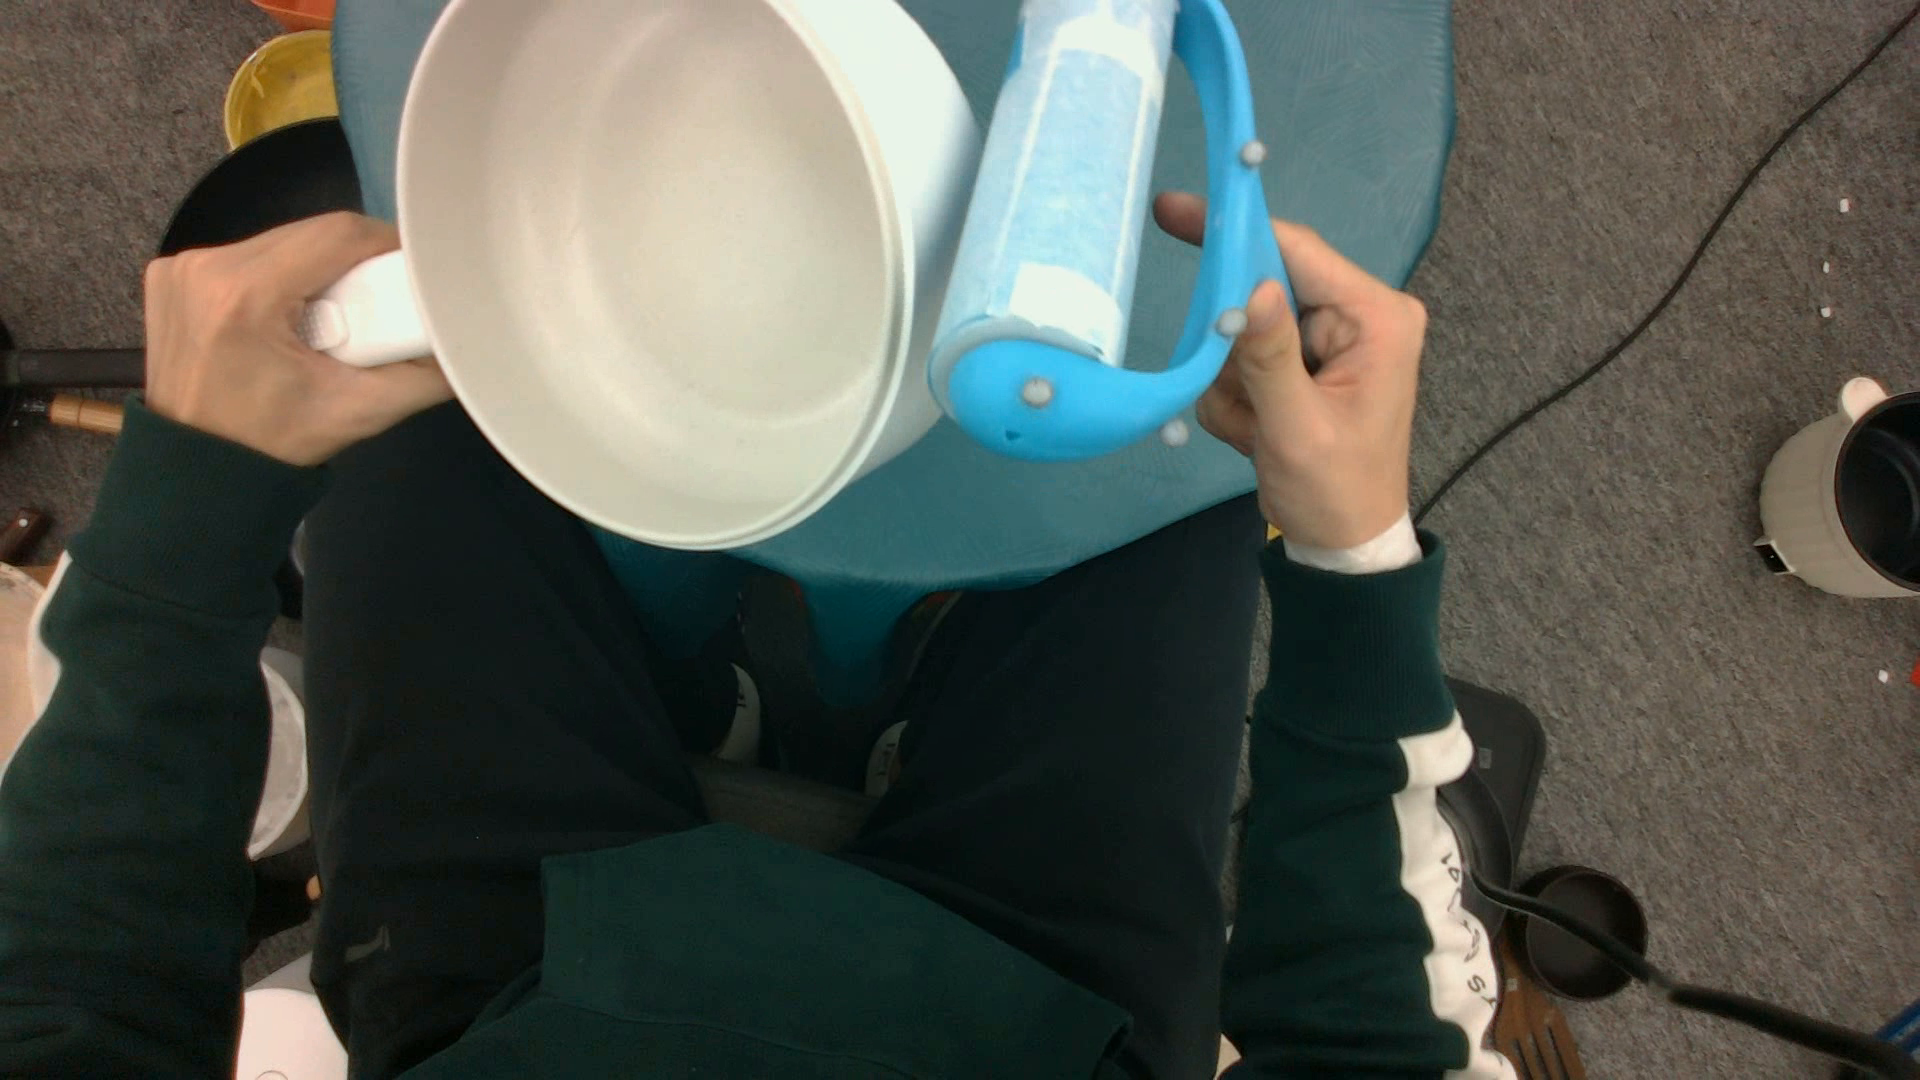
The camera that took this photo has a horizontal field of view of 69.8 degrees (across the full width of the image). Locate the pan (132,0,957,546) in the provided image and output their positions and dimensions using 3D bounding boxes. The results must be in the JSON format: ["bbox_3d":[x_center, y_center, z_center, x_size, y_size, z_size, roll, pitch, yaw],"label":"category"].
[{"bbox_3d":[-0.159,-0.101,0.523,0.354,0.102,0.201,-5,106,27],"label":"pan"}]

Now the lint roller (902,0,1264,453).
[{"bbox_3d":[0.064,-0.094,0.465,0.180,0.067,0.230,33,45,-33],"label":"lint roller"}]
